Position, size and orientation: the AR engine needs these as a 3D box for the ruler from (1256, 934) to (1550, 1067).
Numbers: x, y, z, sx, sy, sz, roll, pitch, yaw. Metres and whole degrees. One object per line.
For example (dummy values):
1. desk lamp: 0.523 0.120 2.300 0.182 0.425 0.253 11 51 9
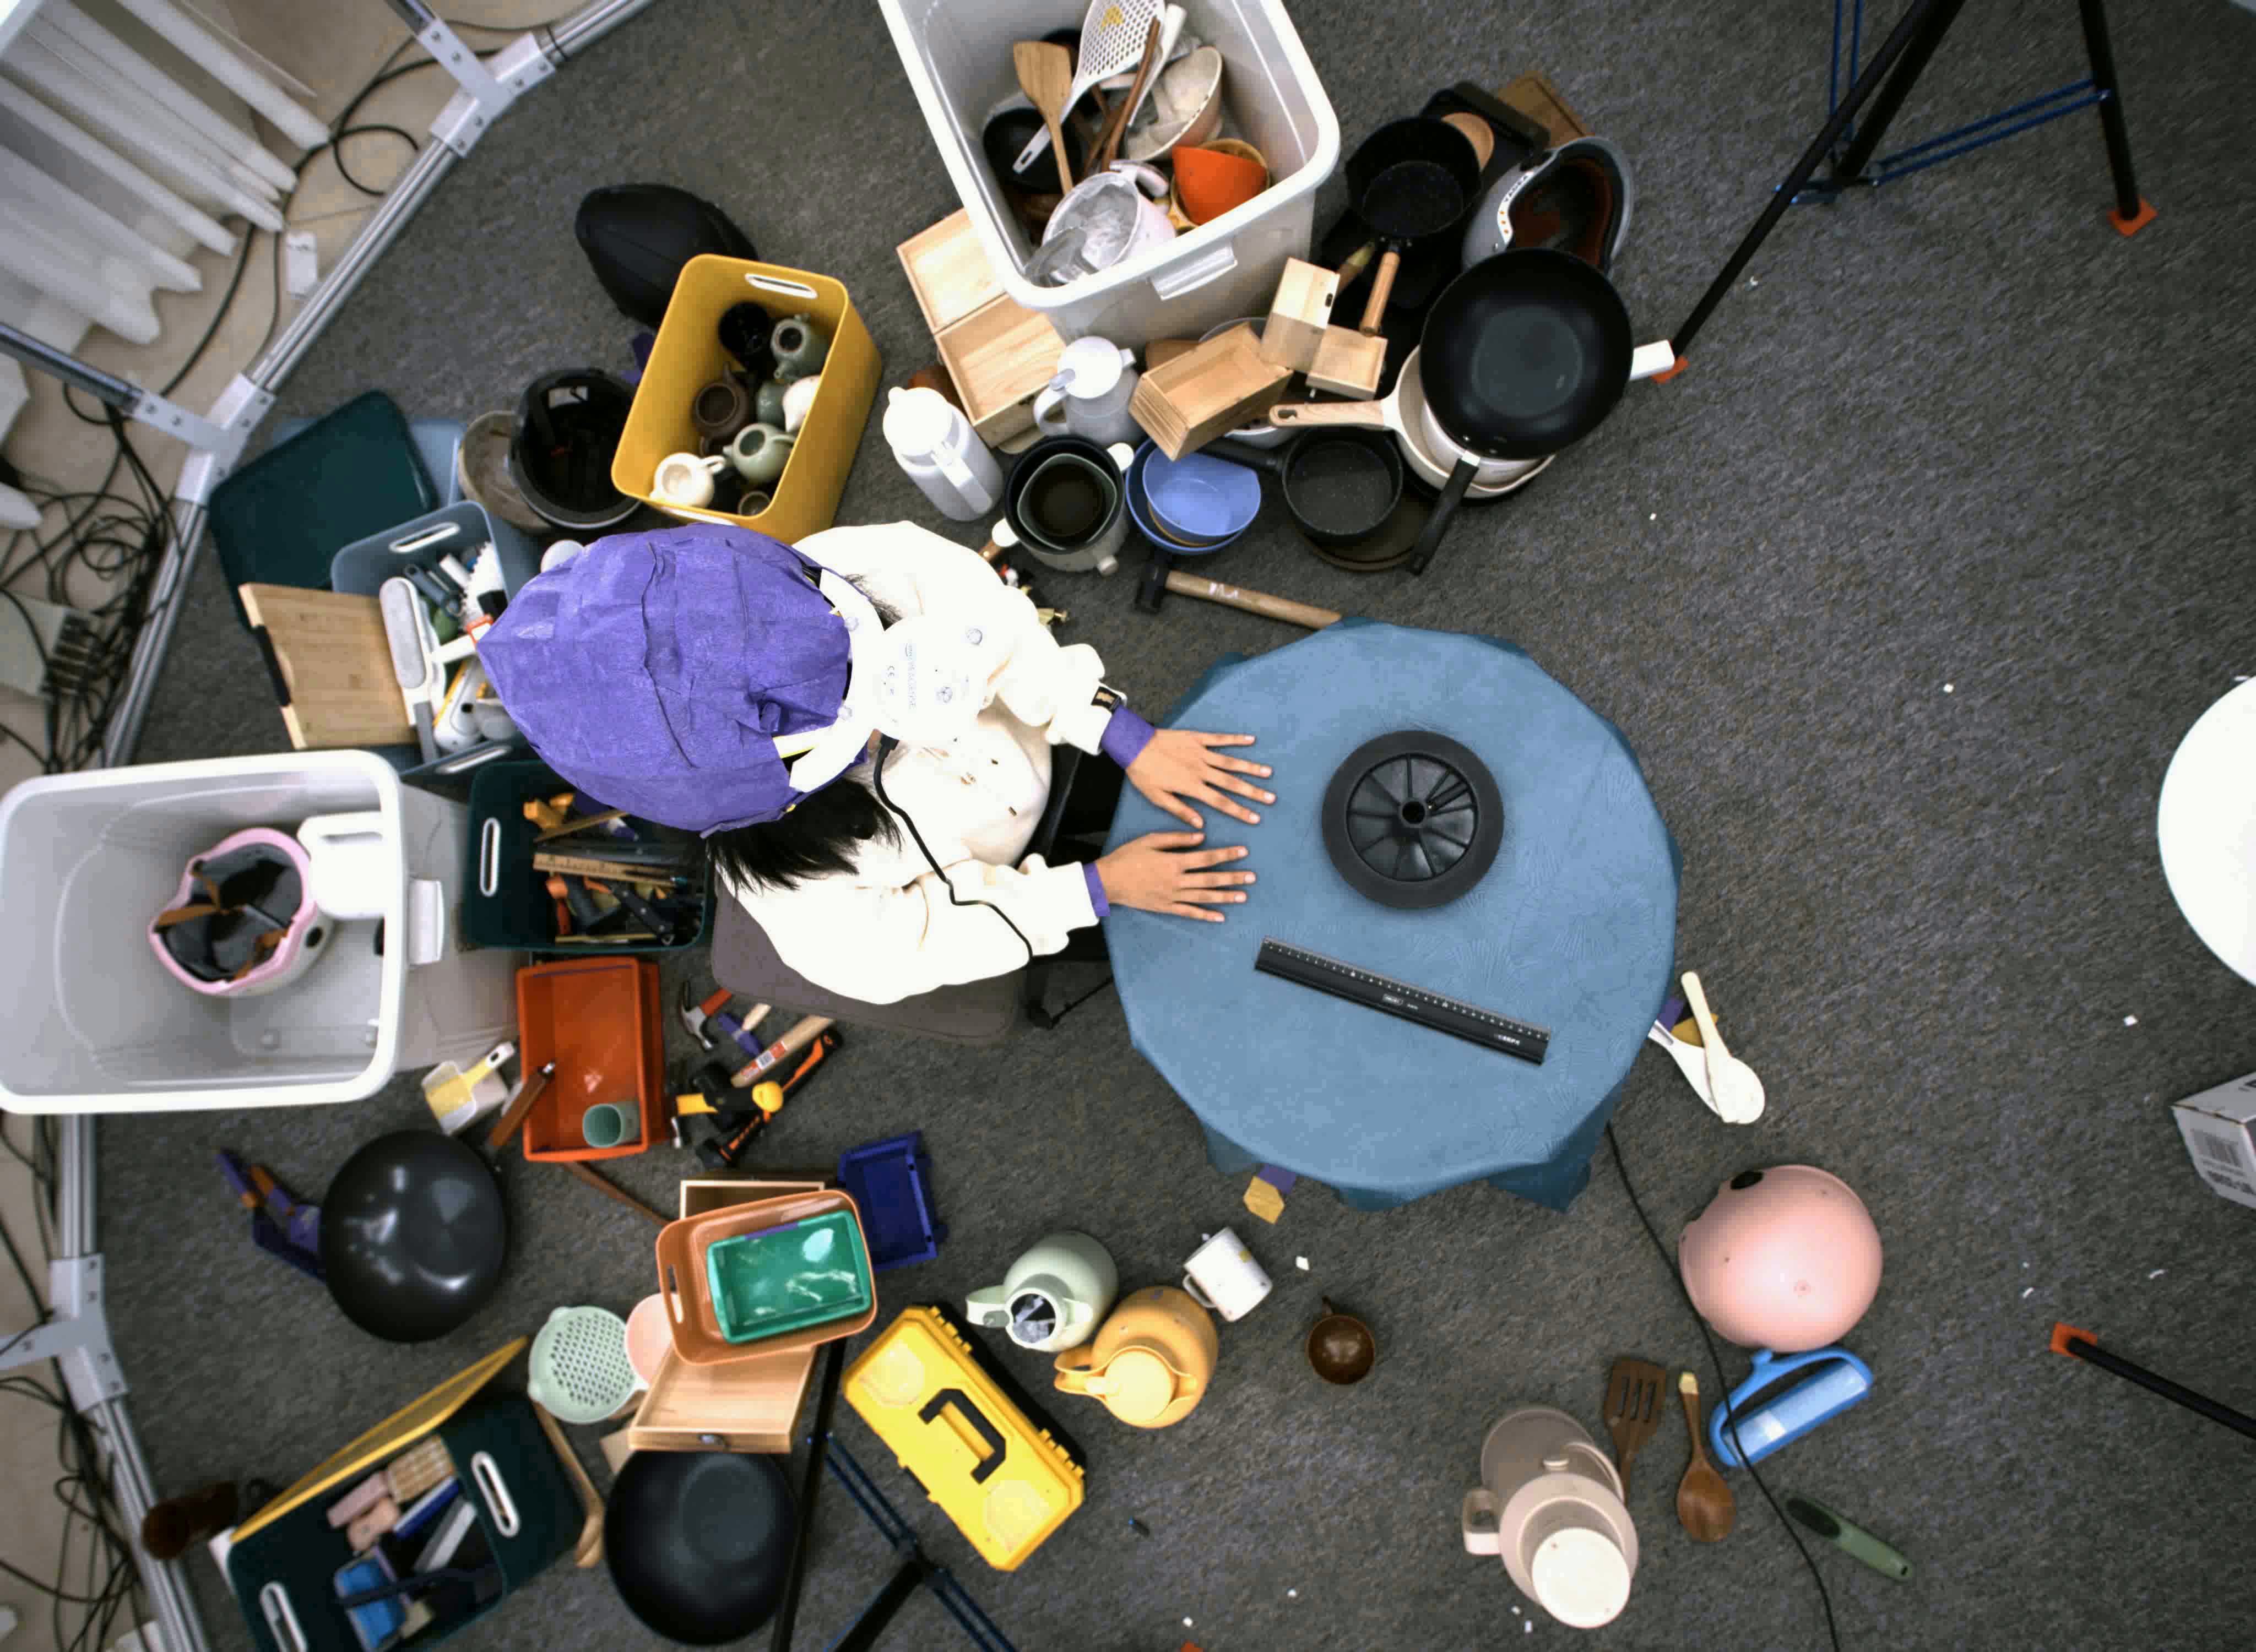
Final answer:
1. ruler: 0.286 0.179 1.443 0.312 0.017 0.039 19 86 12

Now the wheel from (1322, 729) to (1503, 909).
1. wheel: 0.294 -0.011 1.422 0.187 0.079 0.190 35 93 10
